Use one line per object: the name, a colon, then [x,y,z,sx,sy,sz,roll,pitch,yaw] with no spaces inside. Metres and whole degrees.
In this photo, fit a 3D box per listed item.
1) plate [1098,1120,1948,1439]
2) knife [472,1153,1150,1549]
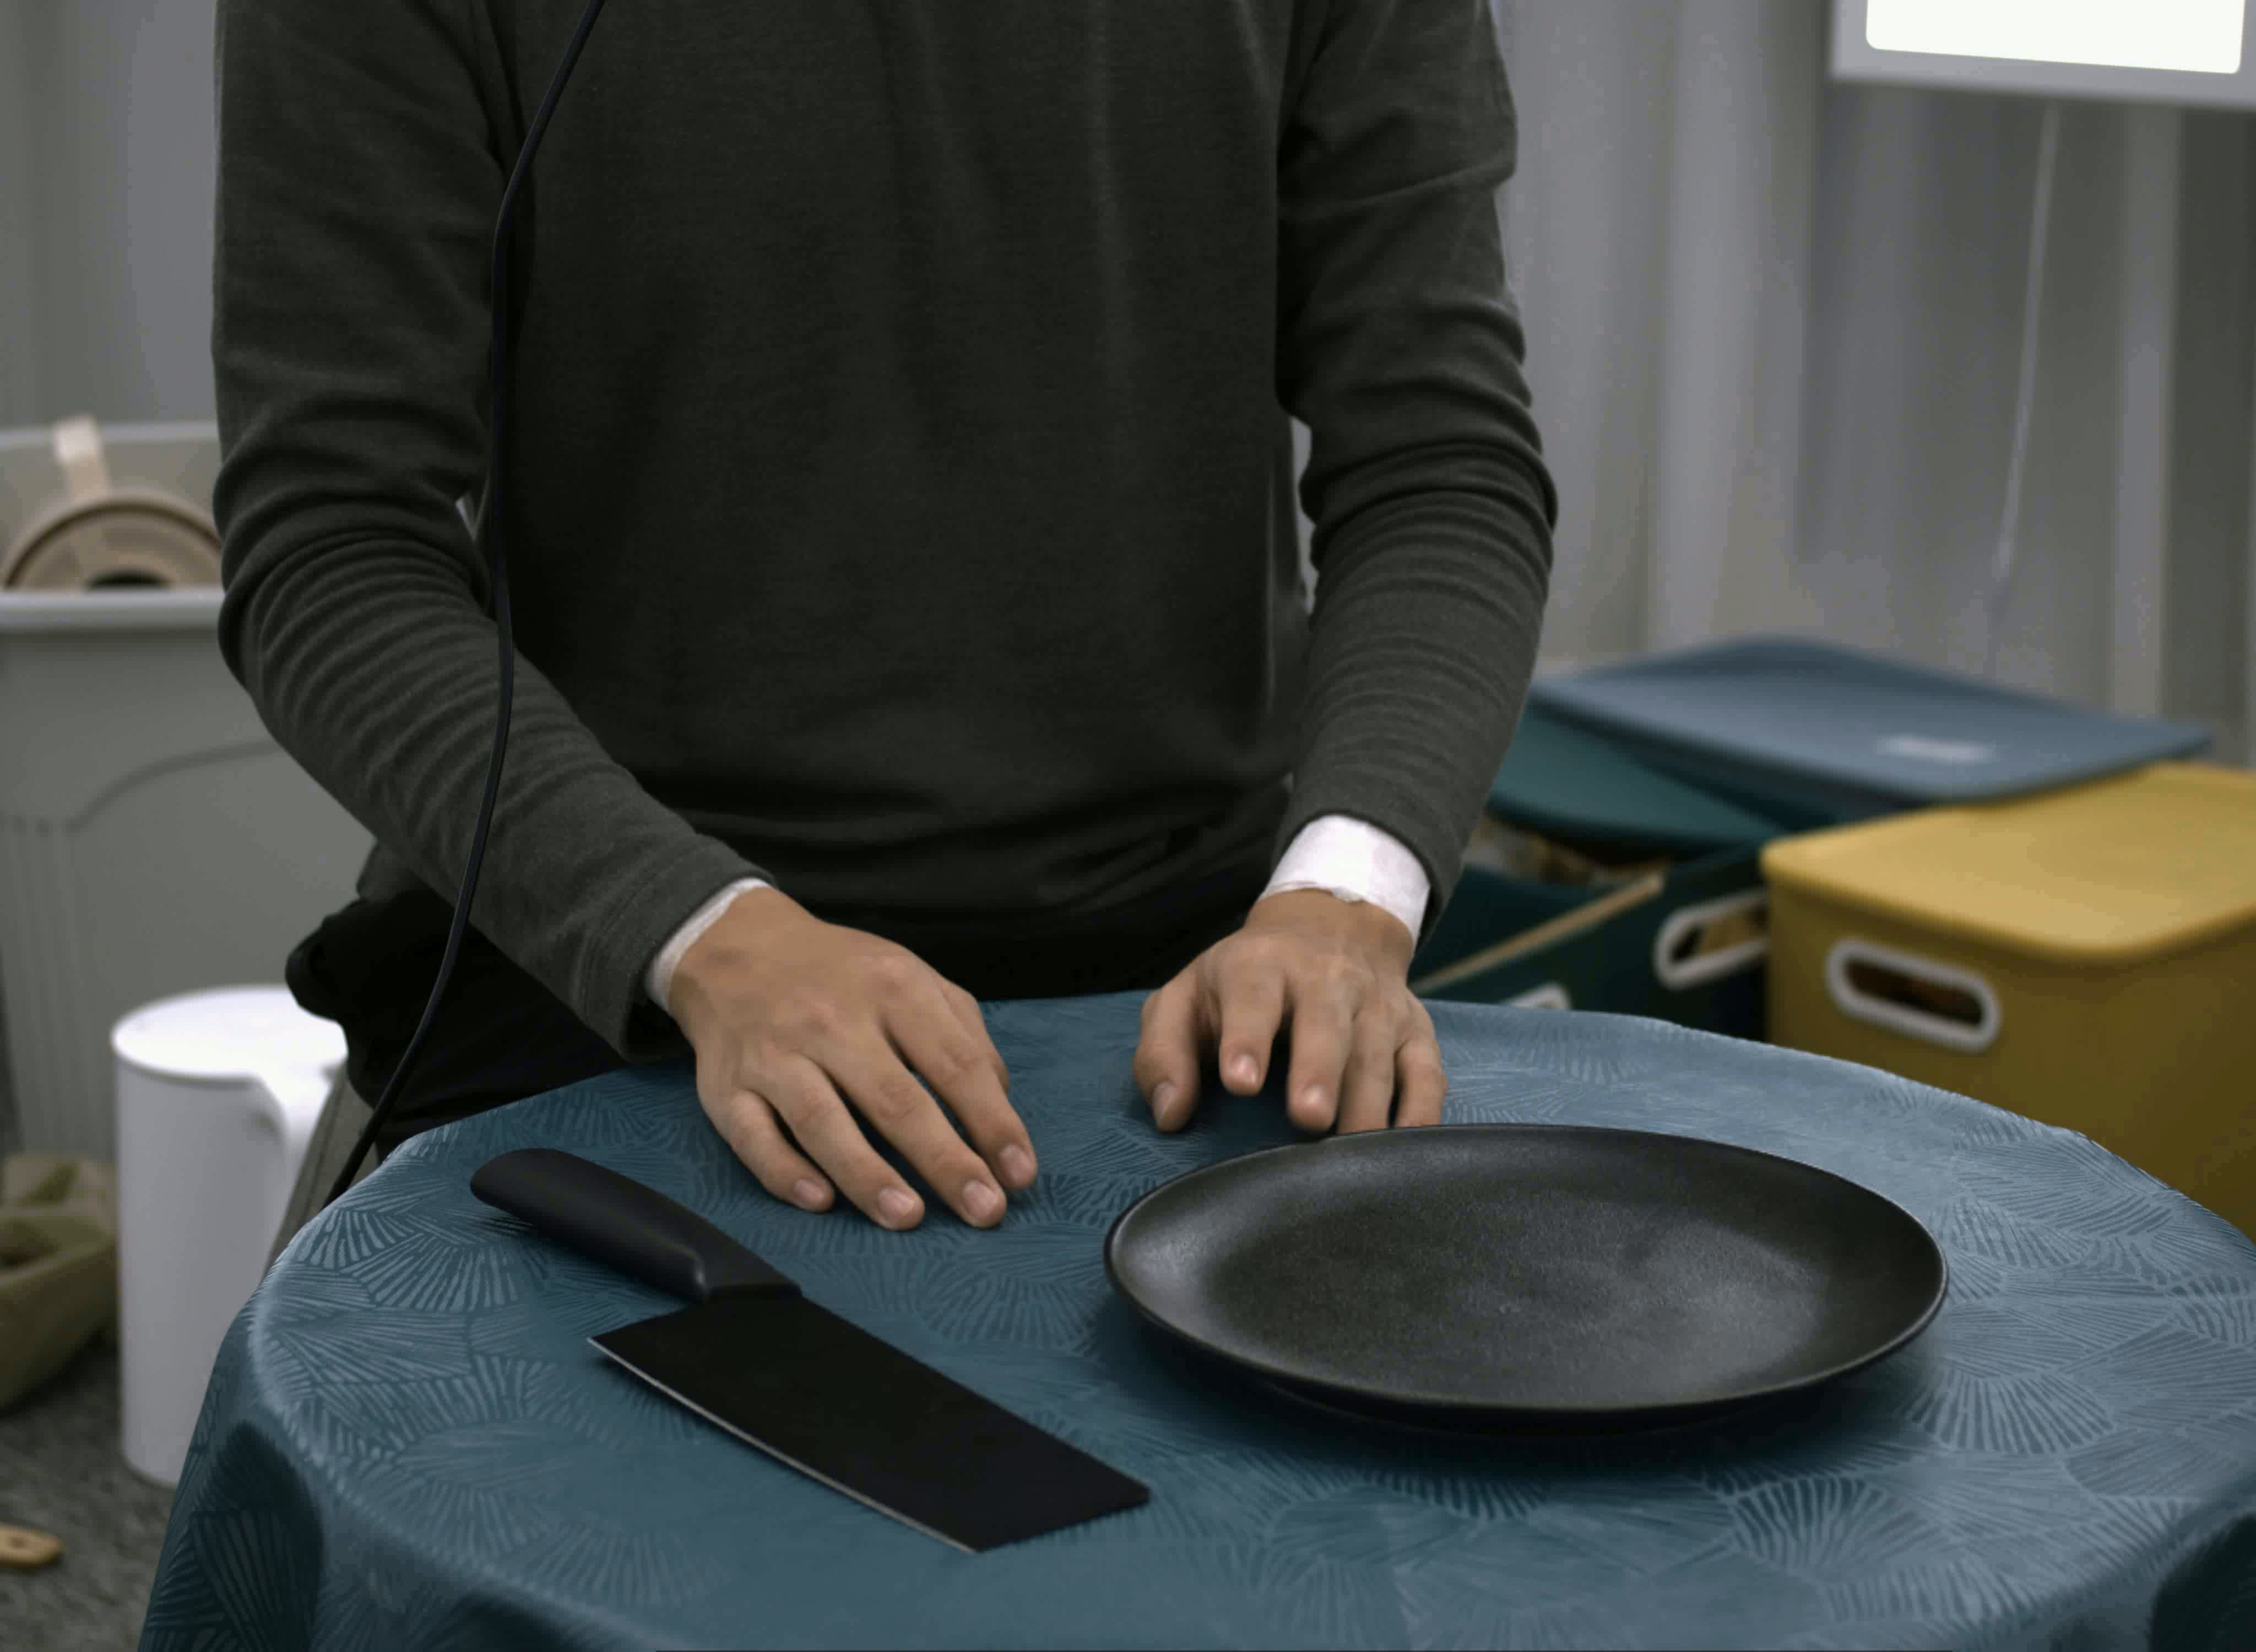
plate: [0.113,0.132,1.513,0.243,0.023,0.243,1,15,0]
knife: [-0.105,0.145,1.479,0.081,0.021,0.298,-11,21,-32]
